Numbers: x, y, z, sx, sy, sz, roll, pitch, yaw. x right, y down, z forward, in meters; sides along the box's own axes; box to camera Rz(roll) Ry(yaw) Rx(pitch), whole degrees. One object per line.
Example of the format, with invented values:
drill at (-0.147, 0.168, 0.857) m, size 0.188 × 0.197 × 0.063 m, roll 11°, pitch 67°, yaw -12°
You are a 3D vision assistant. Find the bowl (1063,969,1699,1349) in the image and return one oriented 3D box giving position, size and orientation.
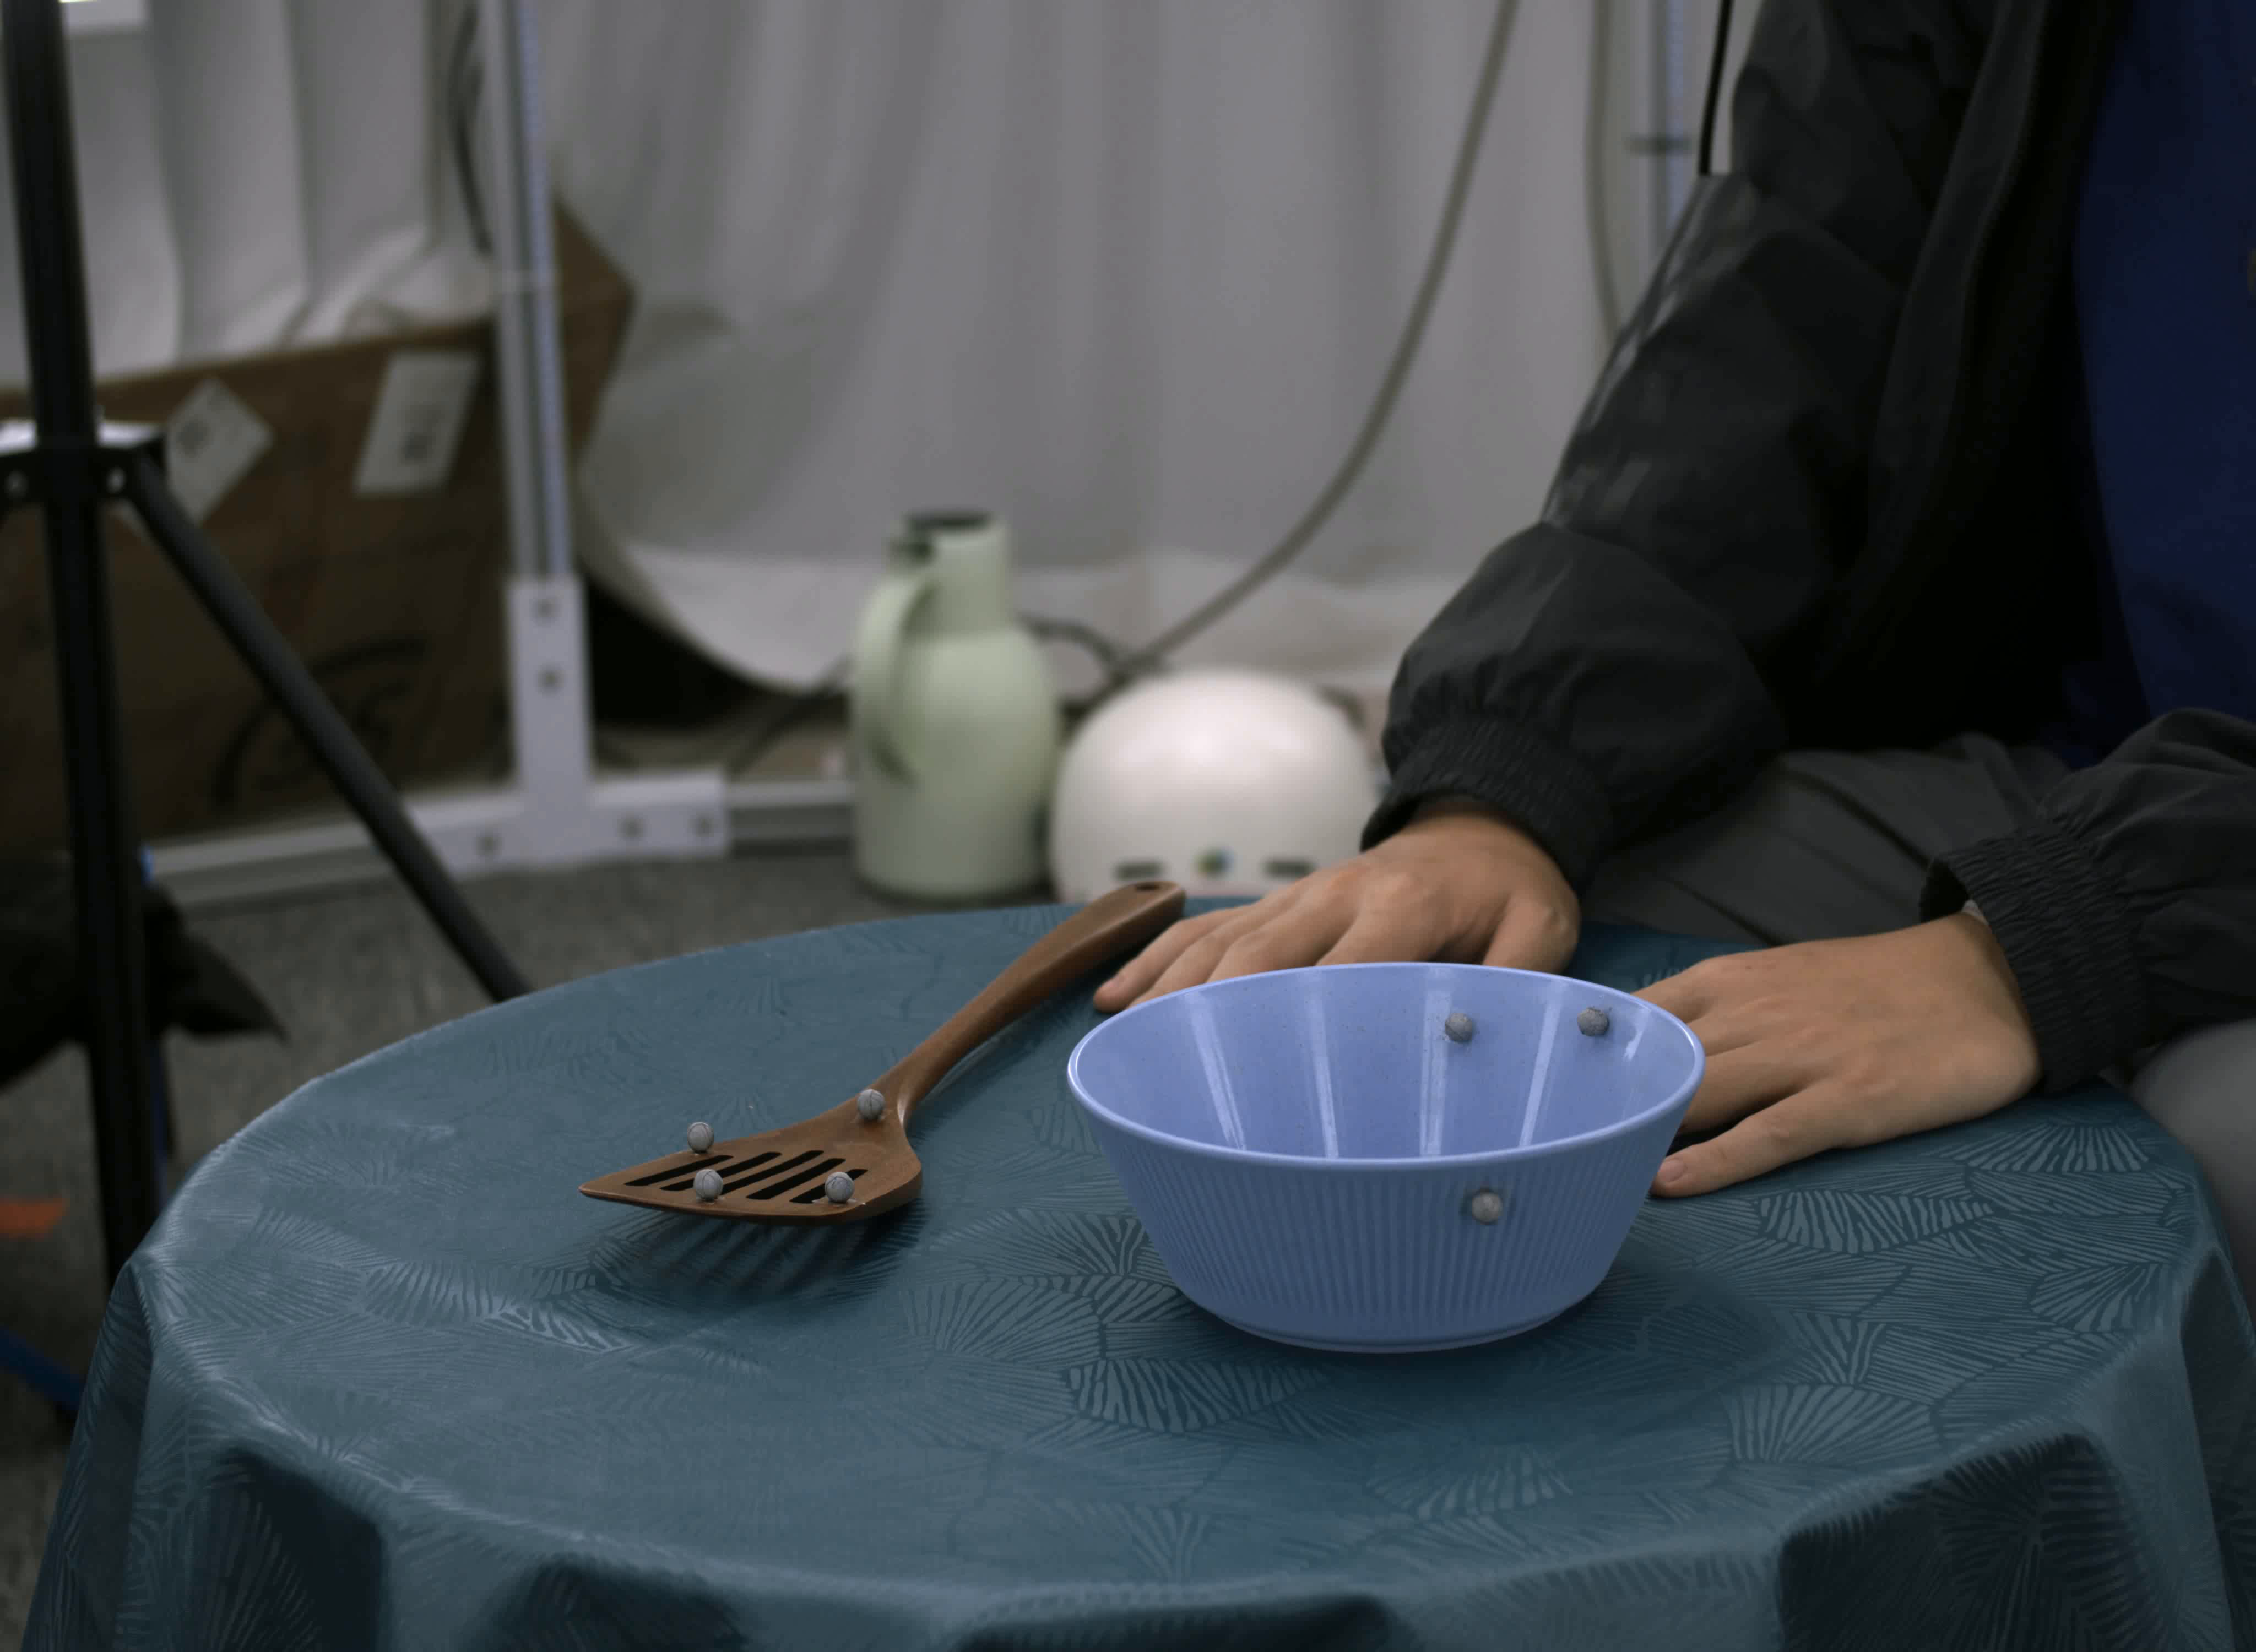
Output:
bowl at (0.070, 0.094, 1.466) m, size 0.175 × 0.070 × 0.177 m, roll -2°, pitch 15°, yaw -1°

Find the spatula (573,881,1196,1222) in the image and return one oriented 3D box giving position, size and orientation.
spatula at (-0.055, 0.070, 1.663) m, size 0.086 × 0.024 × 0.381 m, roll 5°, pitch 16°, yaw 21°
